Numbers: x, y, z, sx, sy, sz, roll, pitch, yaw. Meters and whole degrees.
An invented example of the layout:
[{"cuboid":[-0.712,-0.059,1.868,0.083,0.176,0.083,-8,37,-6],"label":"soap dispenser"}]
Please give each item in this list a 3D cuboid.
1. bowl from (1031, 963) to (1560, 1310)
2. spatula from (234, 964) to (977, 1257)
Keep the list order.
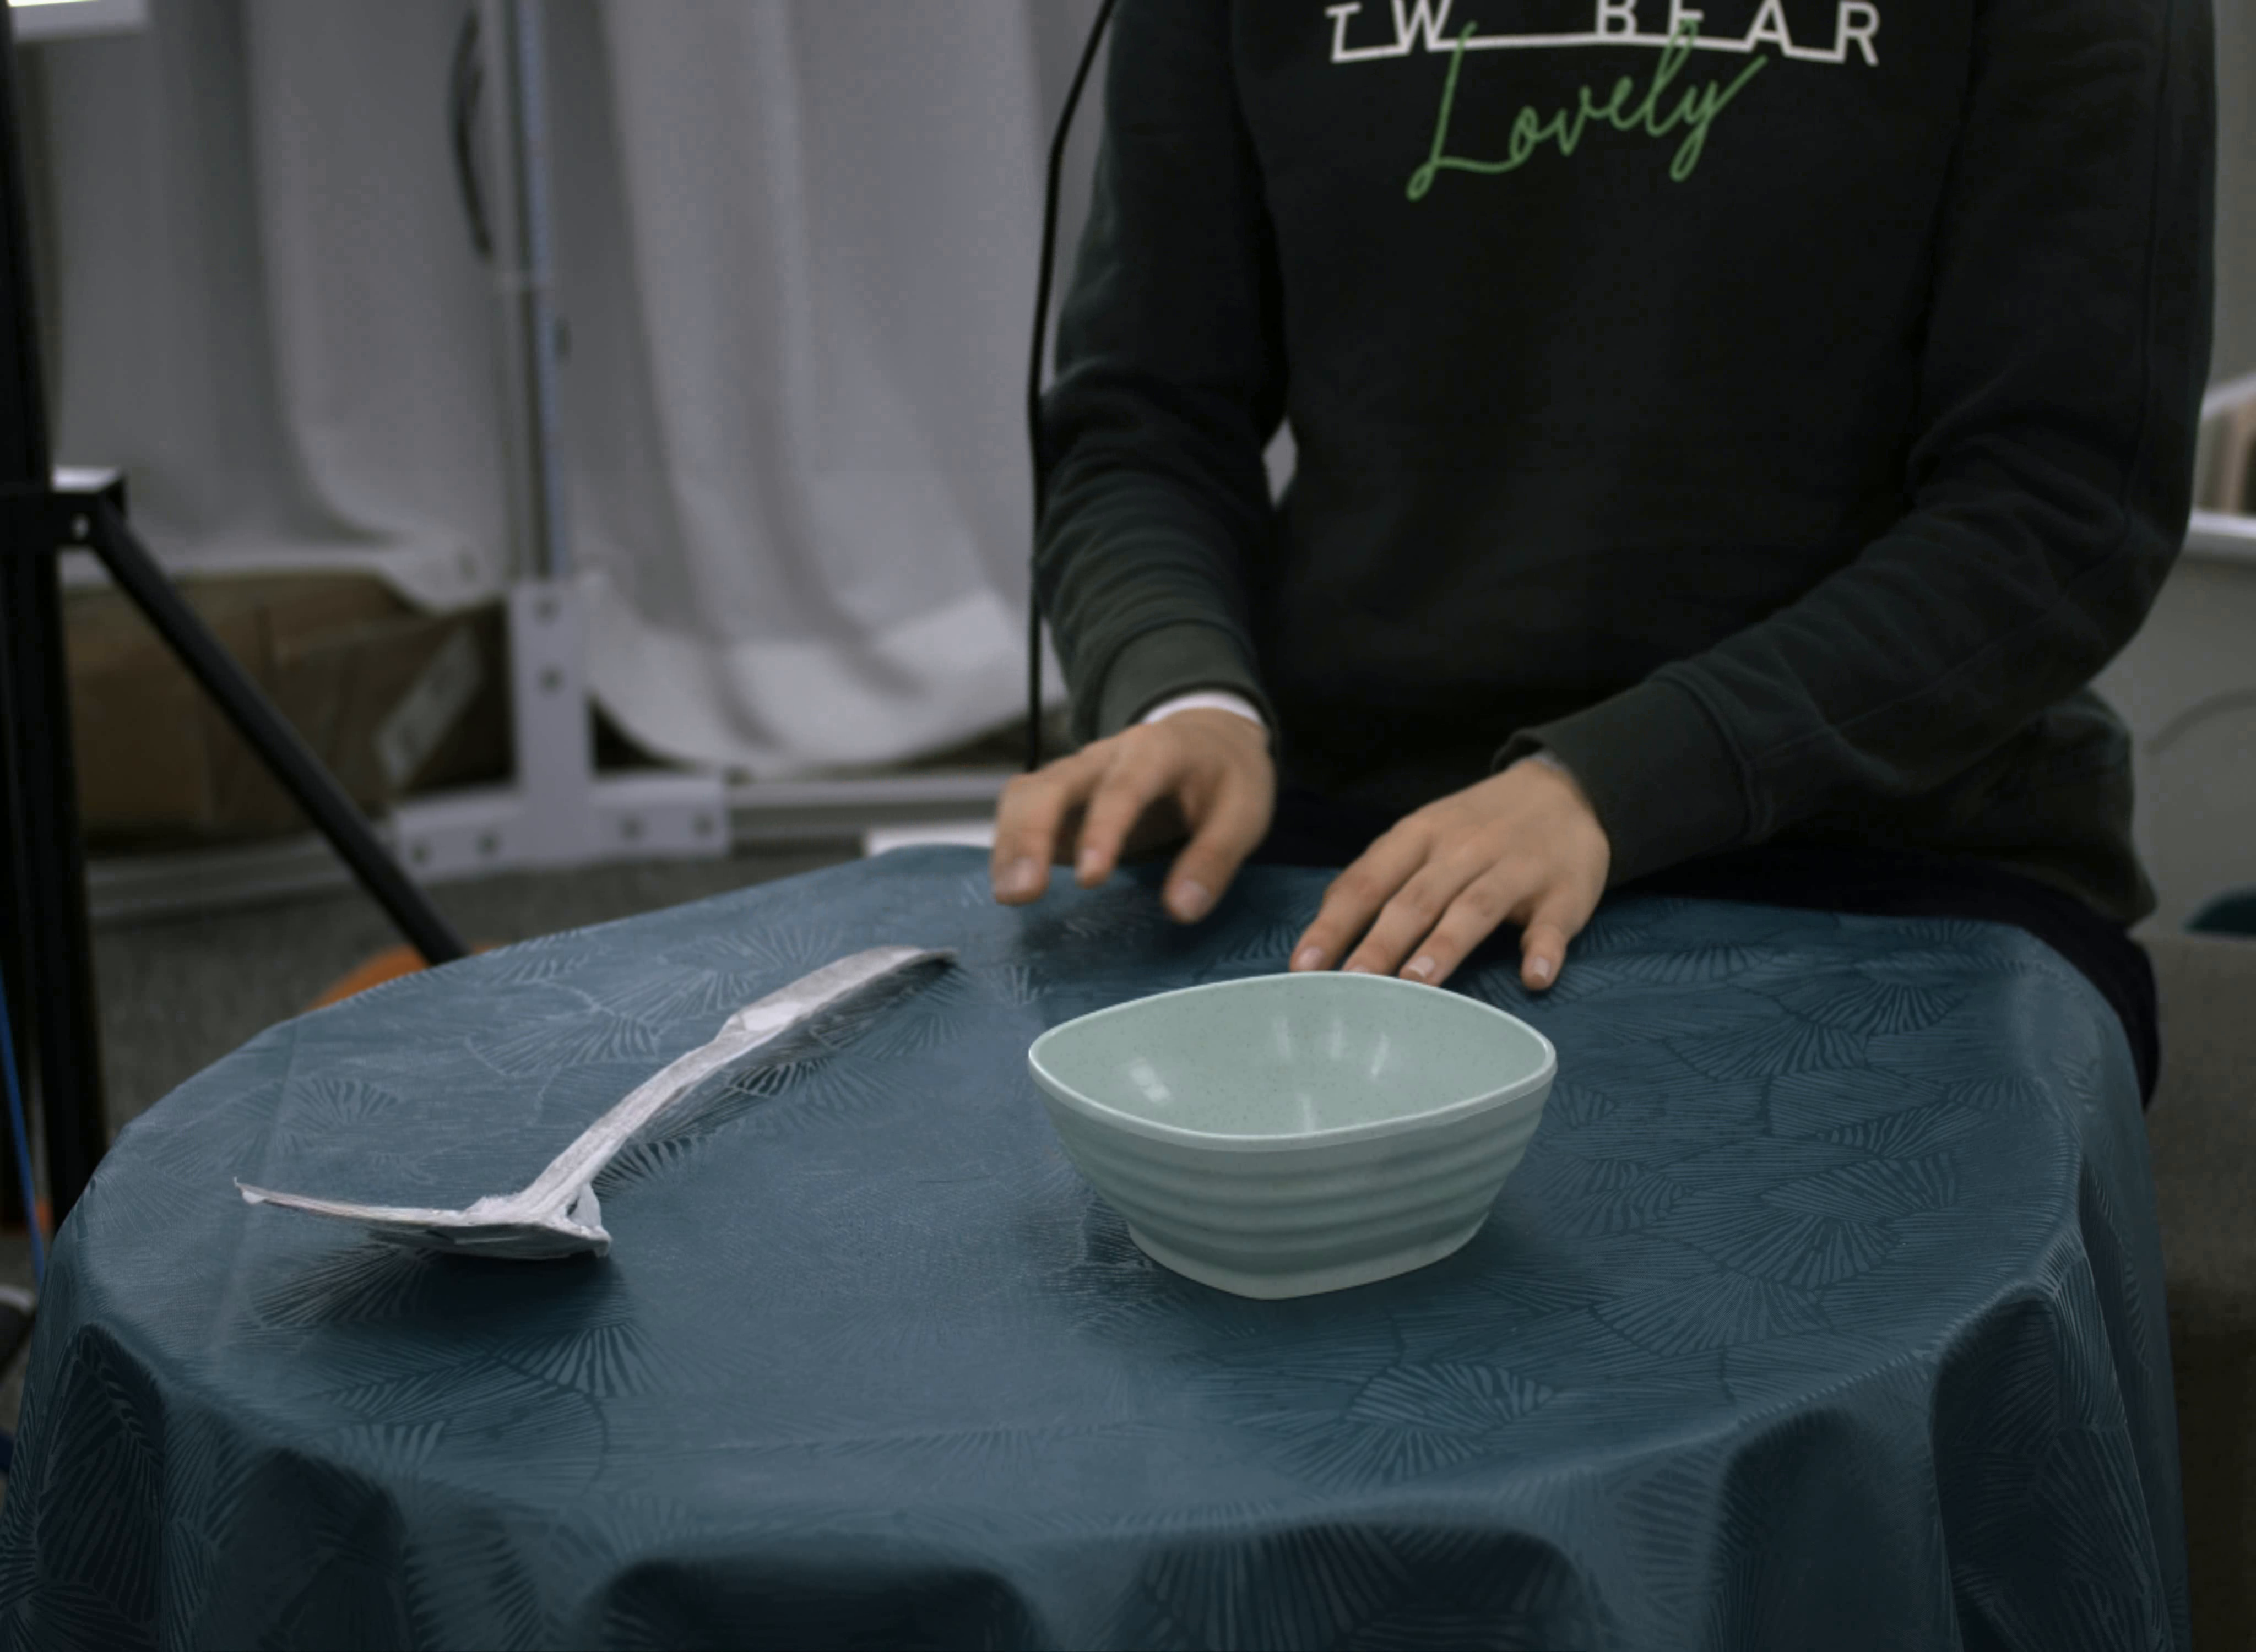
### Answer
[{"cuboid":[0.048,0.092,1.506,0.150,0.058,0.152,-3,18,-1],"label":"bowl"},{"cuboid":[-0.137,0.077,1.621,0.100,0.045,0.359,3,17,25],"label":"spatula"}]
